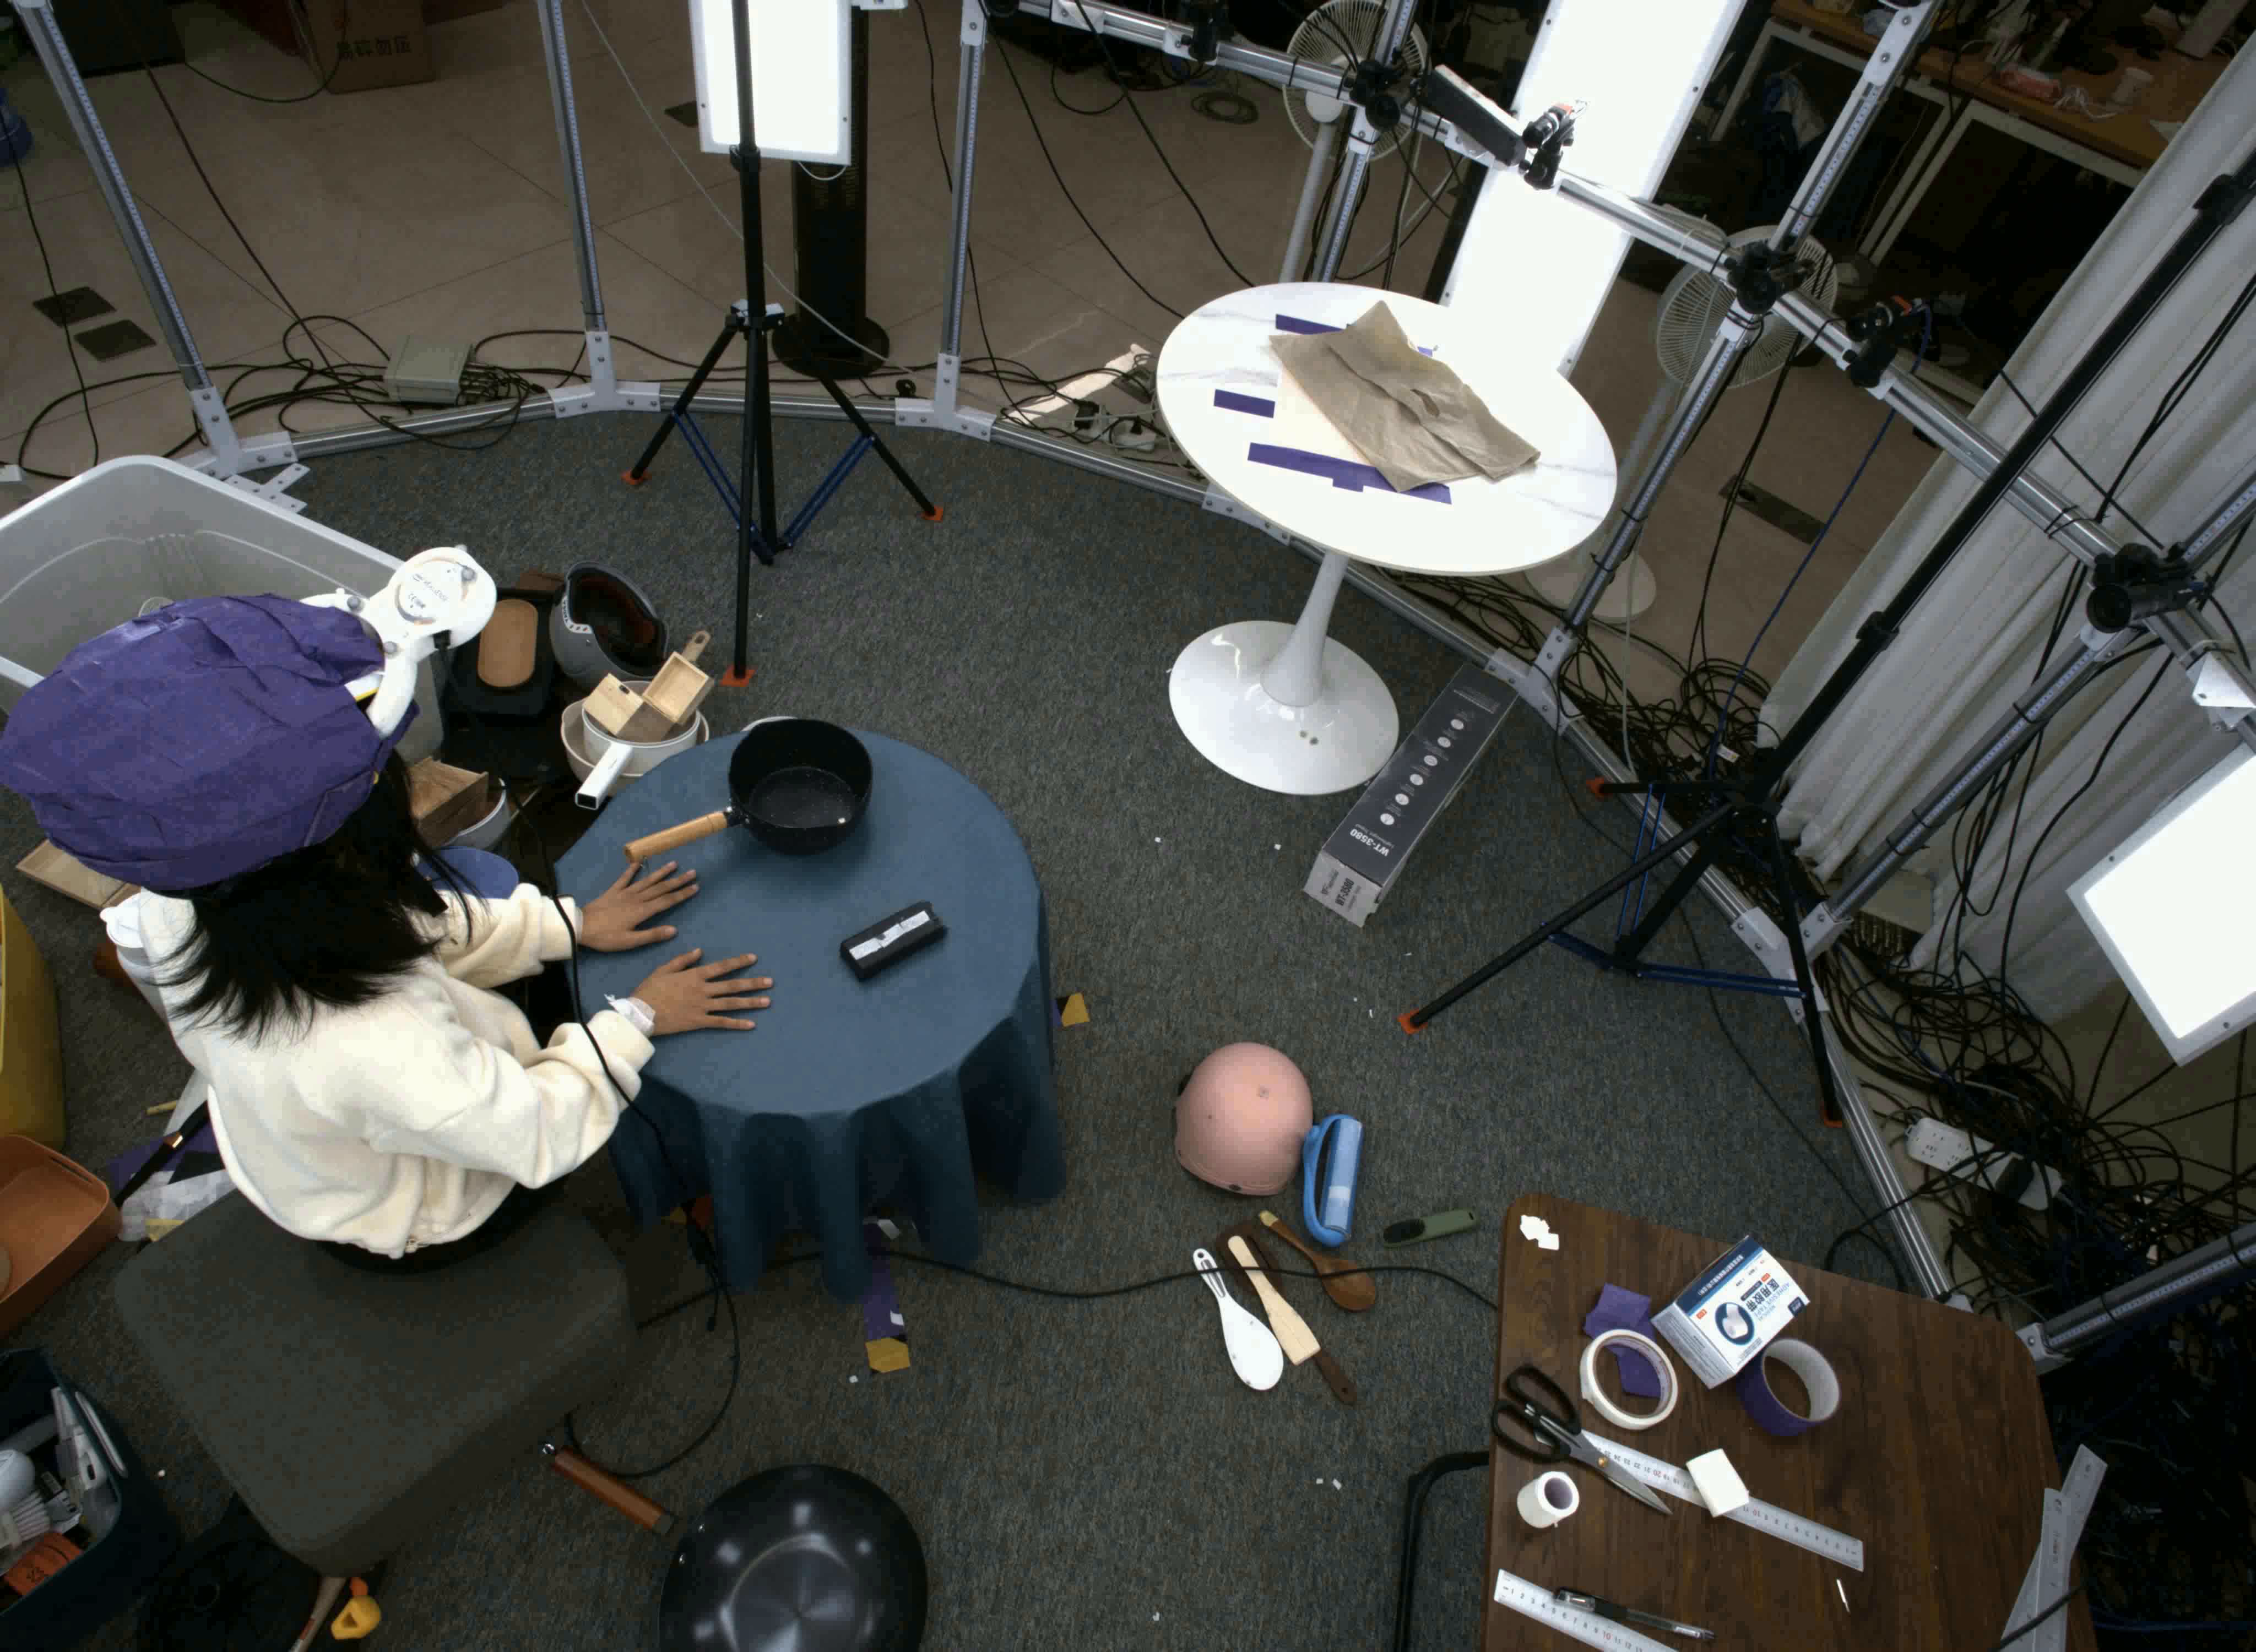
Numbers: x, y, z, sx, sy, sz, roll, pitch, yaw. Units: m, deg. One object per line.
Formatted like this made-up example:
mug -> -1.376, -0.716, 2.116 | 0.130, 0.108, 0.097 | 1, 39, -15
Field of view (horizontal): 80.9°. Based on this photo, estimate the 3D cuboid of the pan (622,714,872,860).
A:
pan -> -0.484, -0.018, 1.646 | 0.344, 0.110, 0.203 | -33, 68, -34

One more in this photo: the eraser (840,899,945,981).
eraser -> -0.295, 0.140, 1.631 | 0.126, 0.031, 0.052 | -29, 64, -29
